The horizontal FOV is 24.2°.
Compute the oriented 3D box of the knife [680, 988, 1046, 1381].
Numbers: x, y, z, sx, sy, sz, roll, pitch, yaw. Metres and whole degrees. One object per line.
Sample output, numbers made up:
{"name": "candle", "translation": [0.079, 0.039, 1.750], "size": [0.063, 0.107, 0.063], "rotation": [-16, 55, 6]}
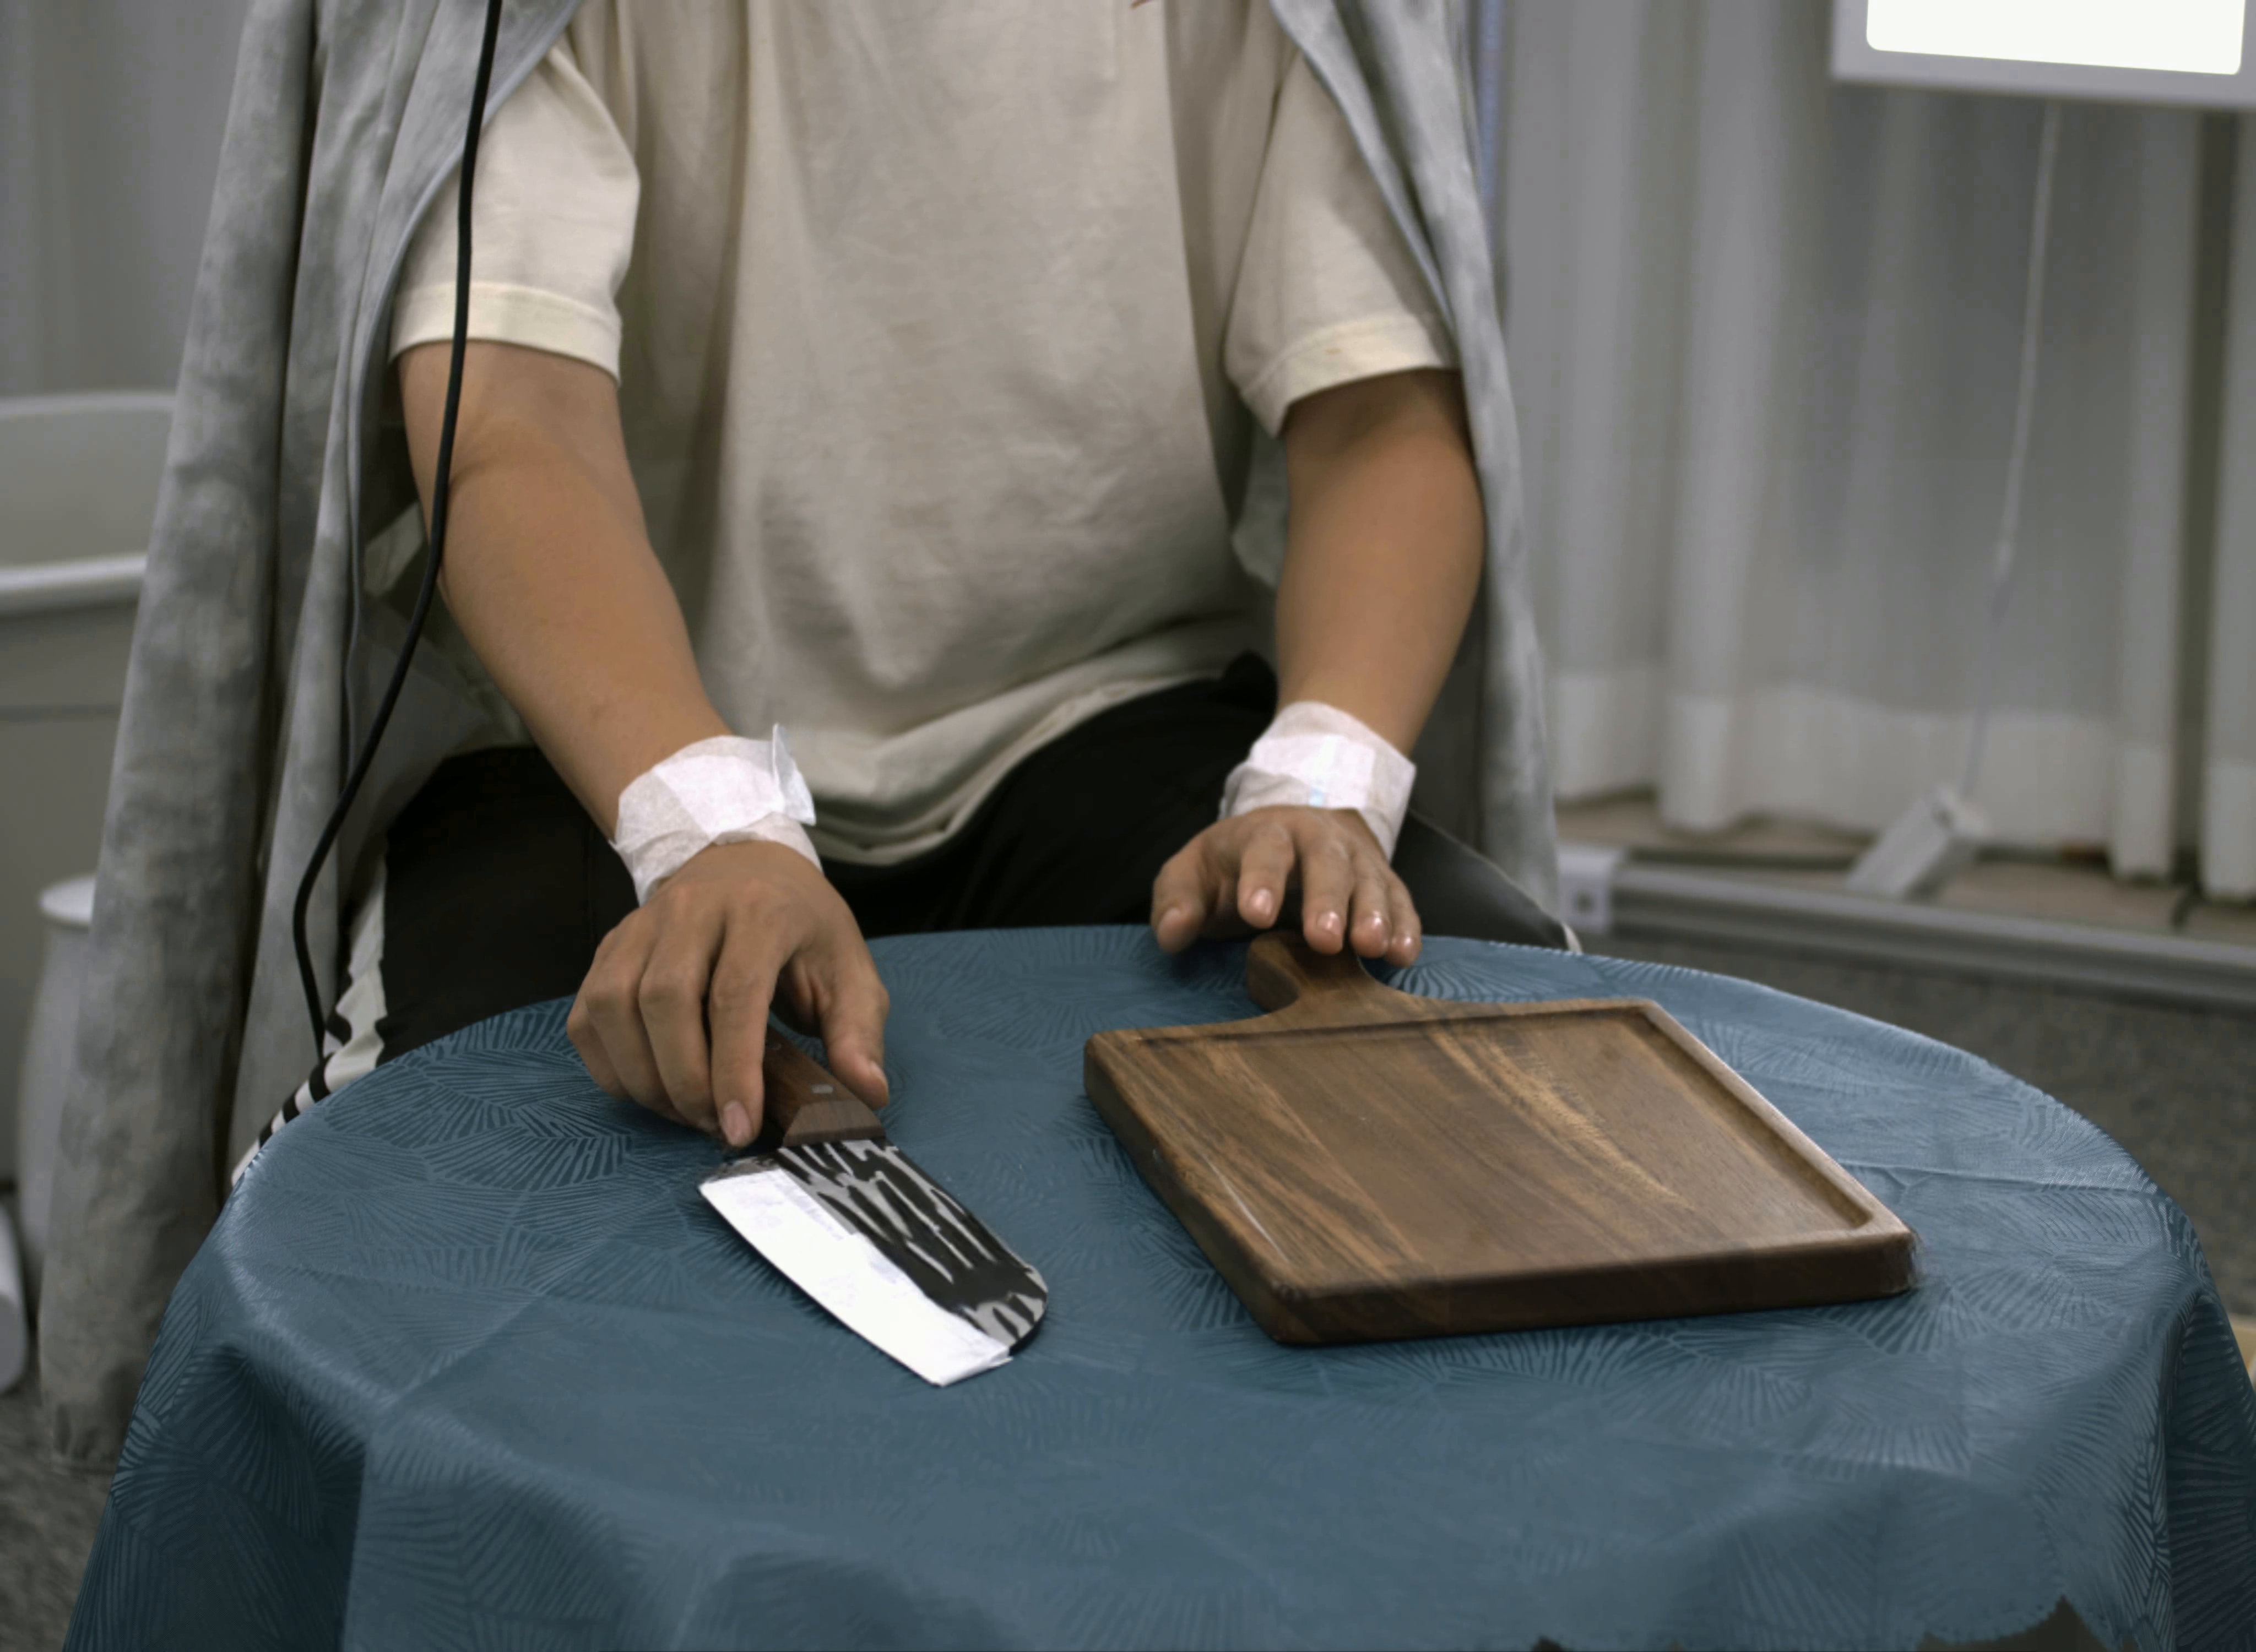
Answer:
{"name": "knife", "translation": [-0.094, 0.108, 1.601], "size": [0.068, 0.024, 0.296], "rotation": [-8, 20, -23]}

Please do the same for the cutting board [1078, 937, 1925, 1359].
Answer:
{"name": "cutting board", "translation": [0.097, 0.091, 1.675], "size": [0.201, 0.023, 0.349], "rotation": [-5, 16, -14]}
